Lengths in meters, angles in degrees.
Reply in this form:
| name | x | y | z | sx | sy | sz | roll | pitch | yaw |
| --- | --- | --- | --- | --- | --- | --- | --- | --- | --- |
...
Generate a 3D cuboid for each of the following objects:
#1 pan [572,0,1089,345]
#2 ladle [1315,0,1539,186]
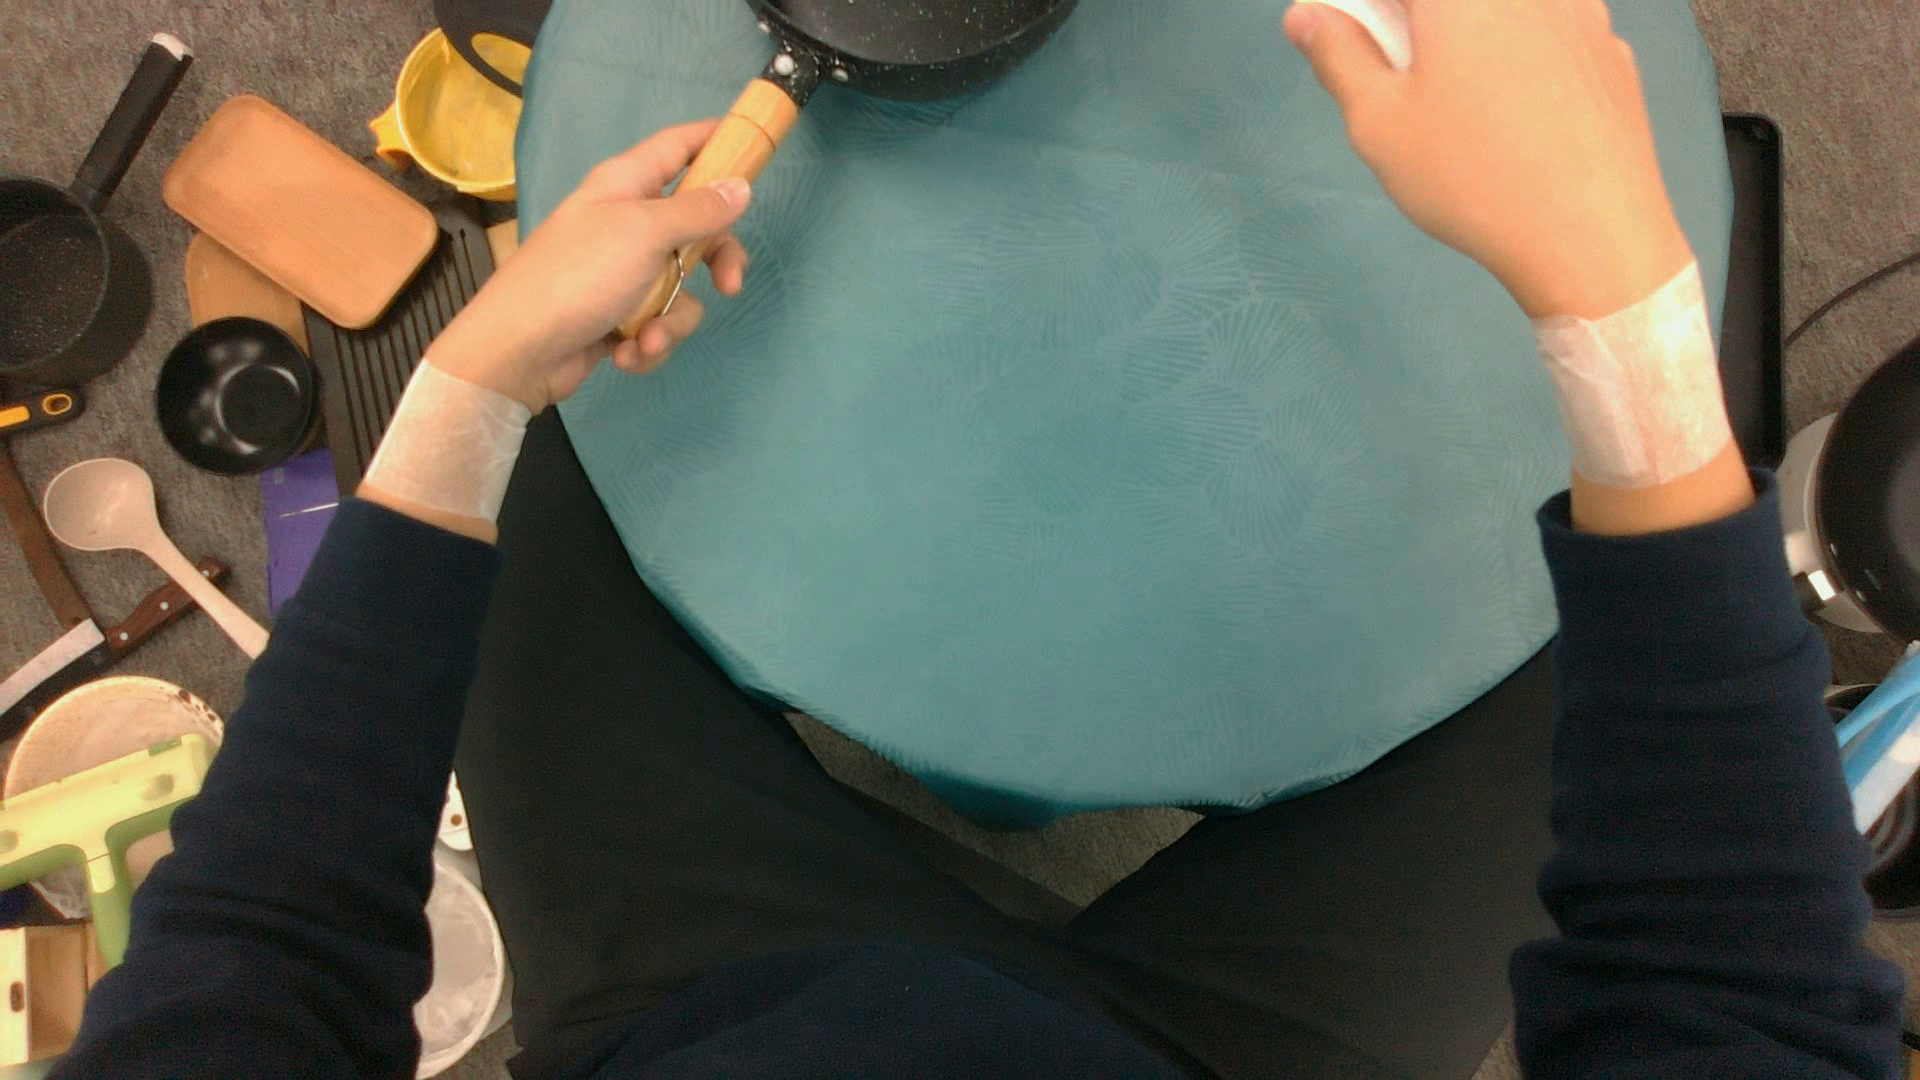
| name | x | y | z | sx | sy | sz | roll | pitch | yaw |
| --- | --- | --- | --- | --- | --- | --- | --- | --- | --- |
| pan | -0.067 | -0.227 | 0.634 | 0.207 | 0.108 | 0.343 | 29 | 84 | 1 |
| ladle | 0.113 | -0.249 | 0.494 | 0.090 | 0.069 | 0.293 | -9 | 56 | -37 |
